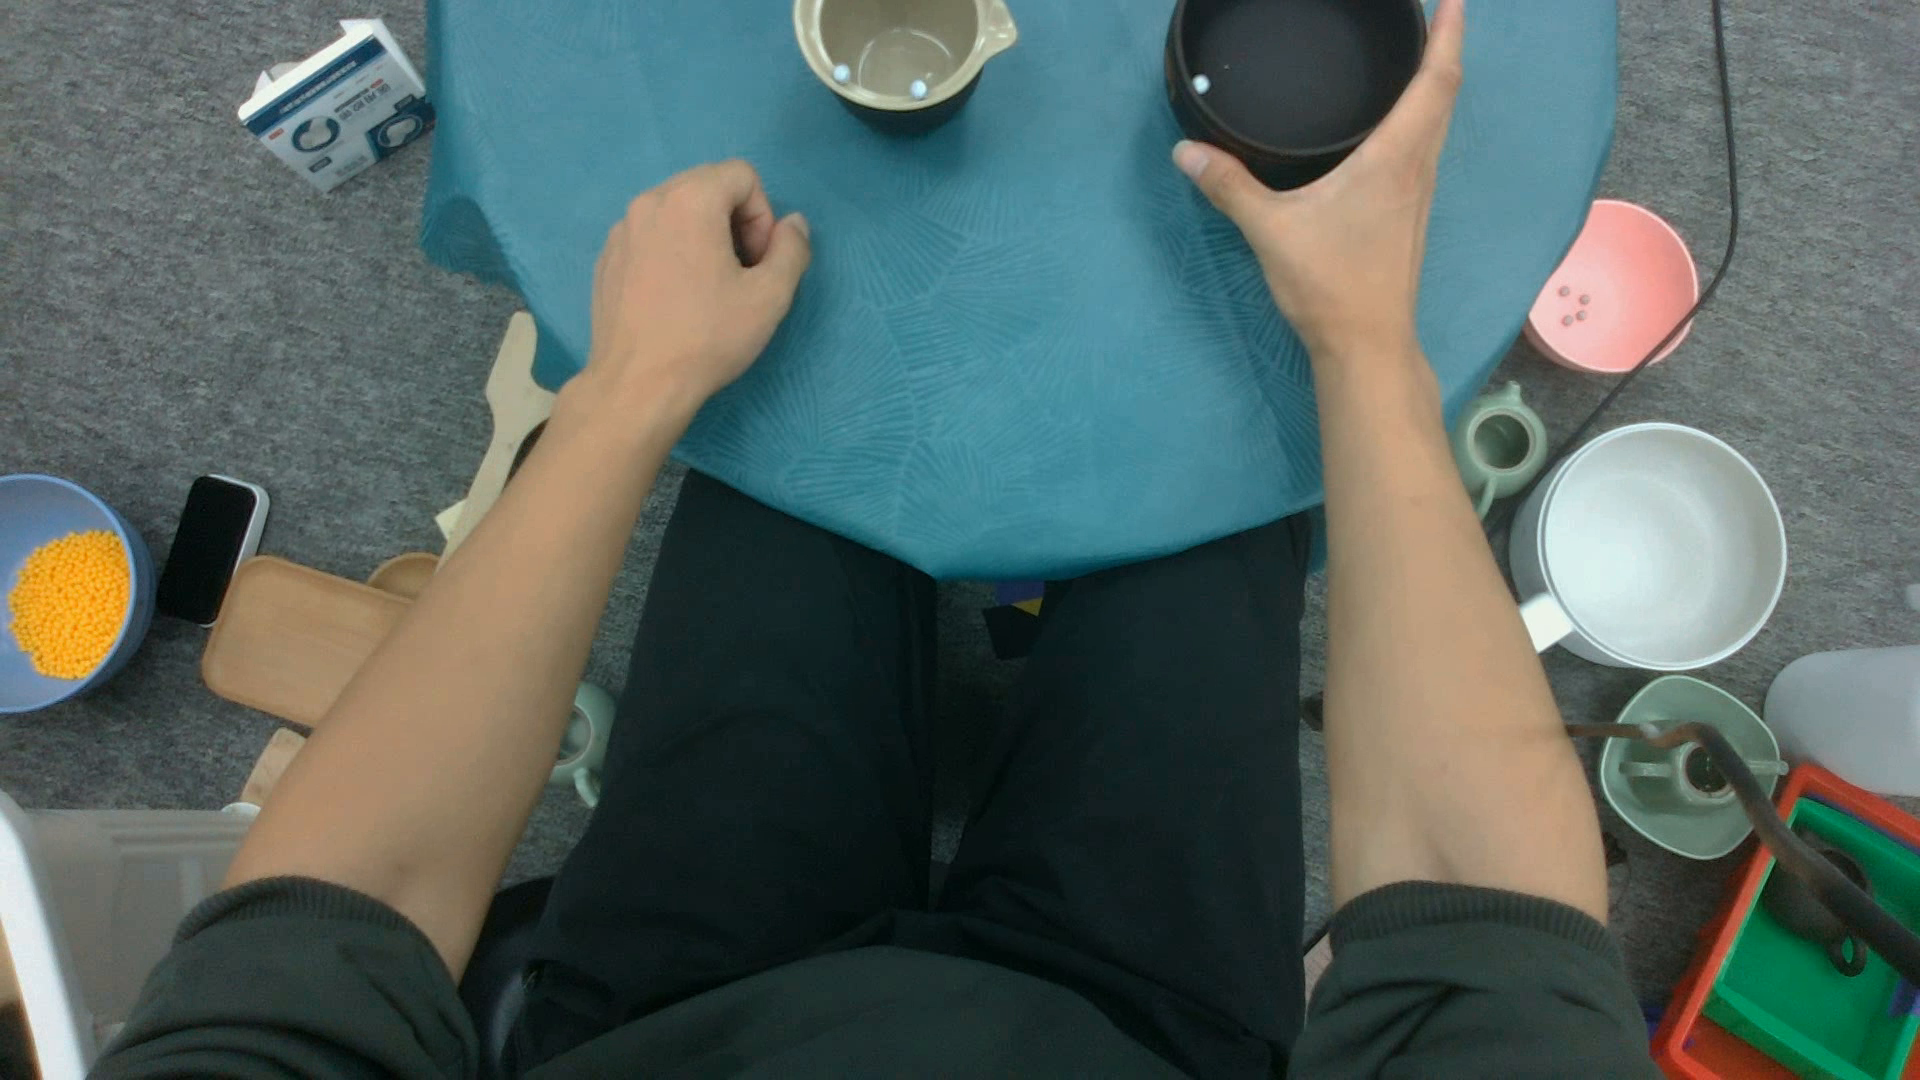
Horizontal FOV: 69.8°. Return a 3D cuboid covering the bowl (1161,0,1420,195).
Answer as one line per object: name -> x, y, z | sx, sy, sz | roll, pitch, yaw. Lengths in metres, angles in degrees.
bowl -> 0.156, -0.223, 0.670 | 0.118, 0.070, 0.118 | 0, 84, 1

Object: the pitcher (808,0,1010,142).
pitcher -> -0.023, -0.233, 0.672 | 0.096, 0.071, 0.084 | 16, 82, 3
